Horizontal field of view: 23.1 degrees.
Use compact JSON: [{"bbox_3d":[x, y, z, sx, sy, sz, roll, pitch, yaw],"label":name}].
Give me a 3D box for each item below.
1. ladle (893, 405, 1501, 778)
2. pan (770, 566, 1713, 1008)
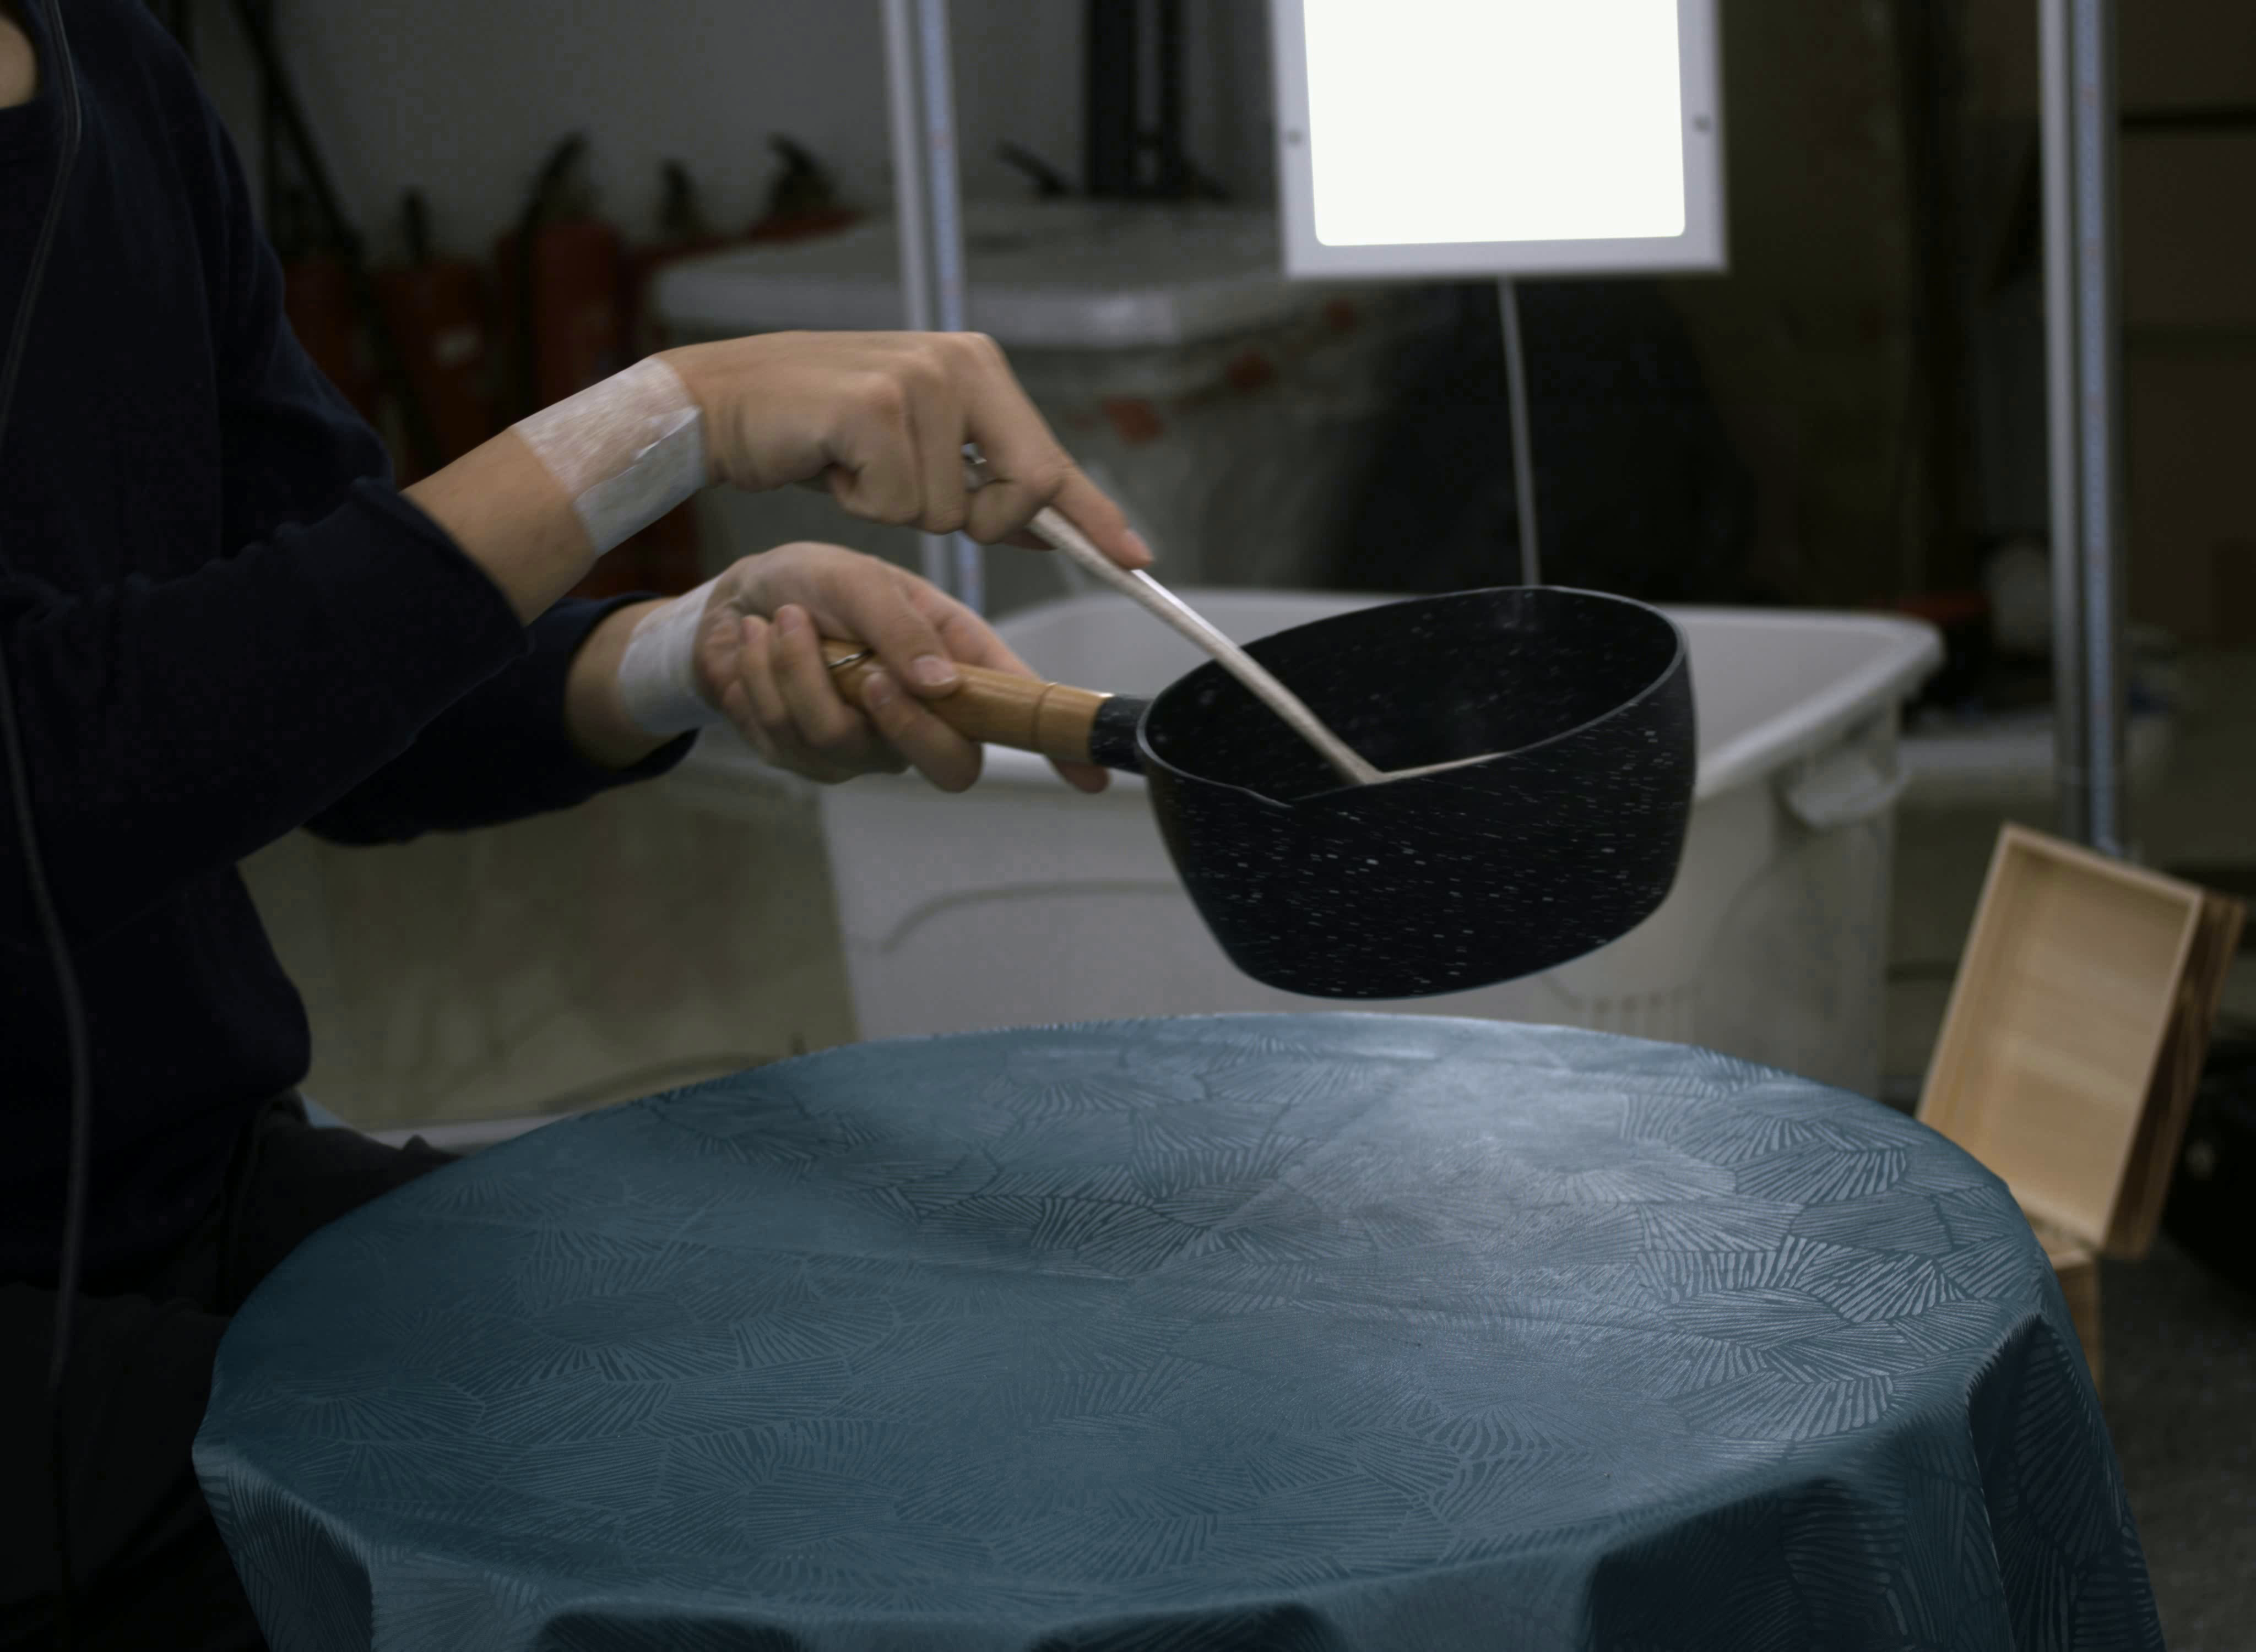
[{"bbox_3d":[0.048,-0.072,1.793,0.070,0.272,0.089,-46,16,16],"label":"ladle"},{"bbox_3d":[0.033,-0.020,1.851,0.349,0.108,0.203,1,24,29],"label":"pan"}]
